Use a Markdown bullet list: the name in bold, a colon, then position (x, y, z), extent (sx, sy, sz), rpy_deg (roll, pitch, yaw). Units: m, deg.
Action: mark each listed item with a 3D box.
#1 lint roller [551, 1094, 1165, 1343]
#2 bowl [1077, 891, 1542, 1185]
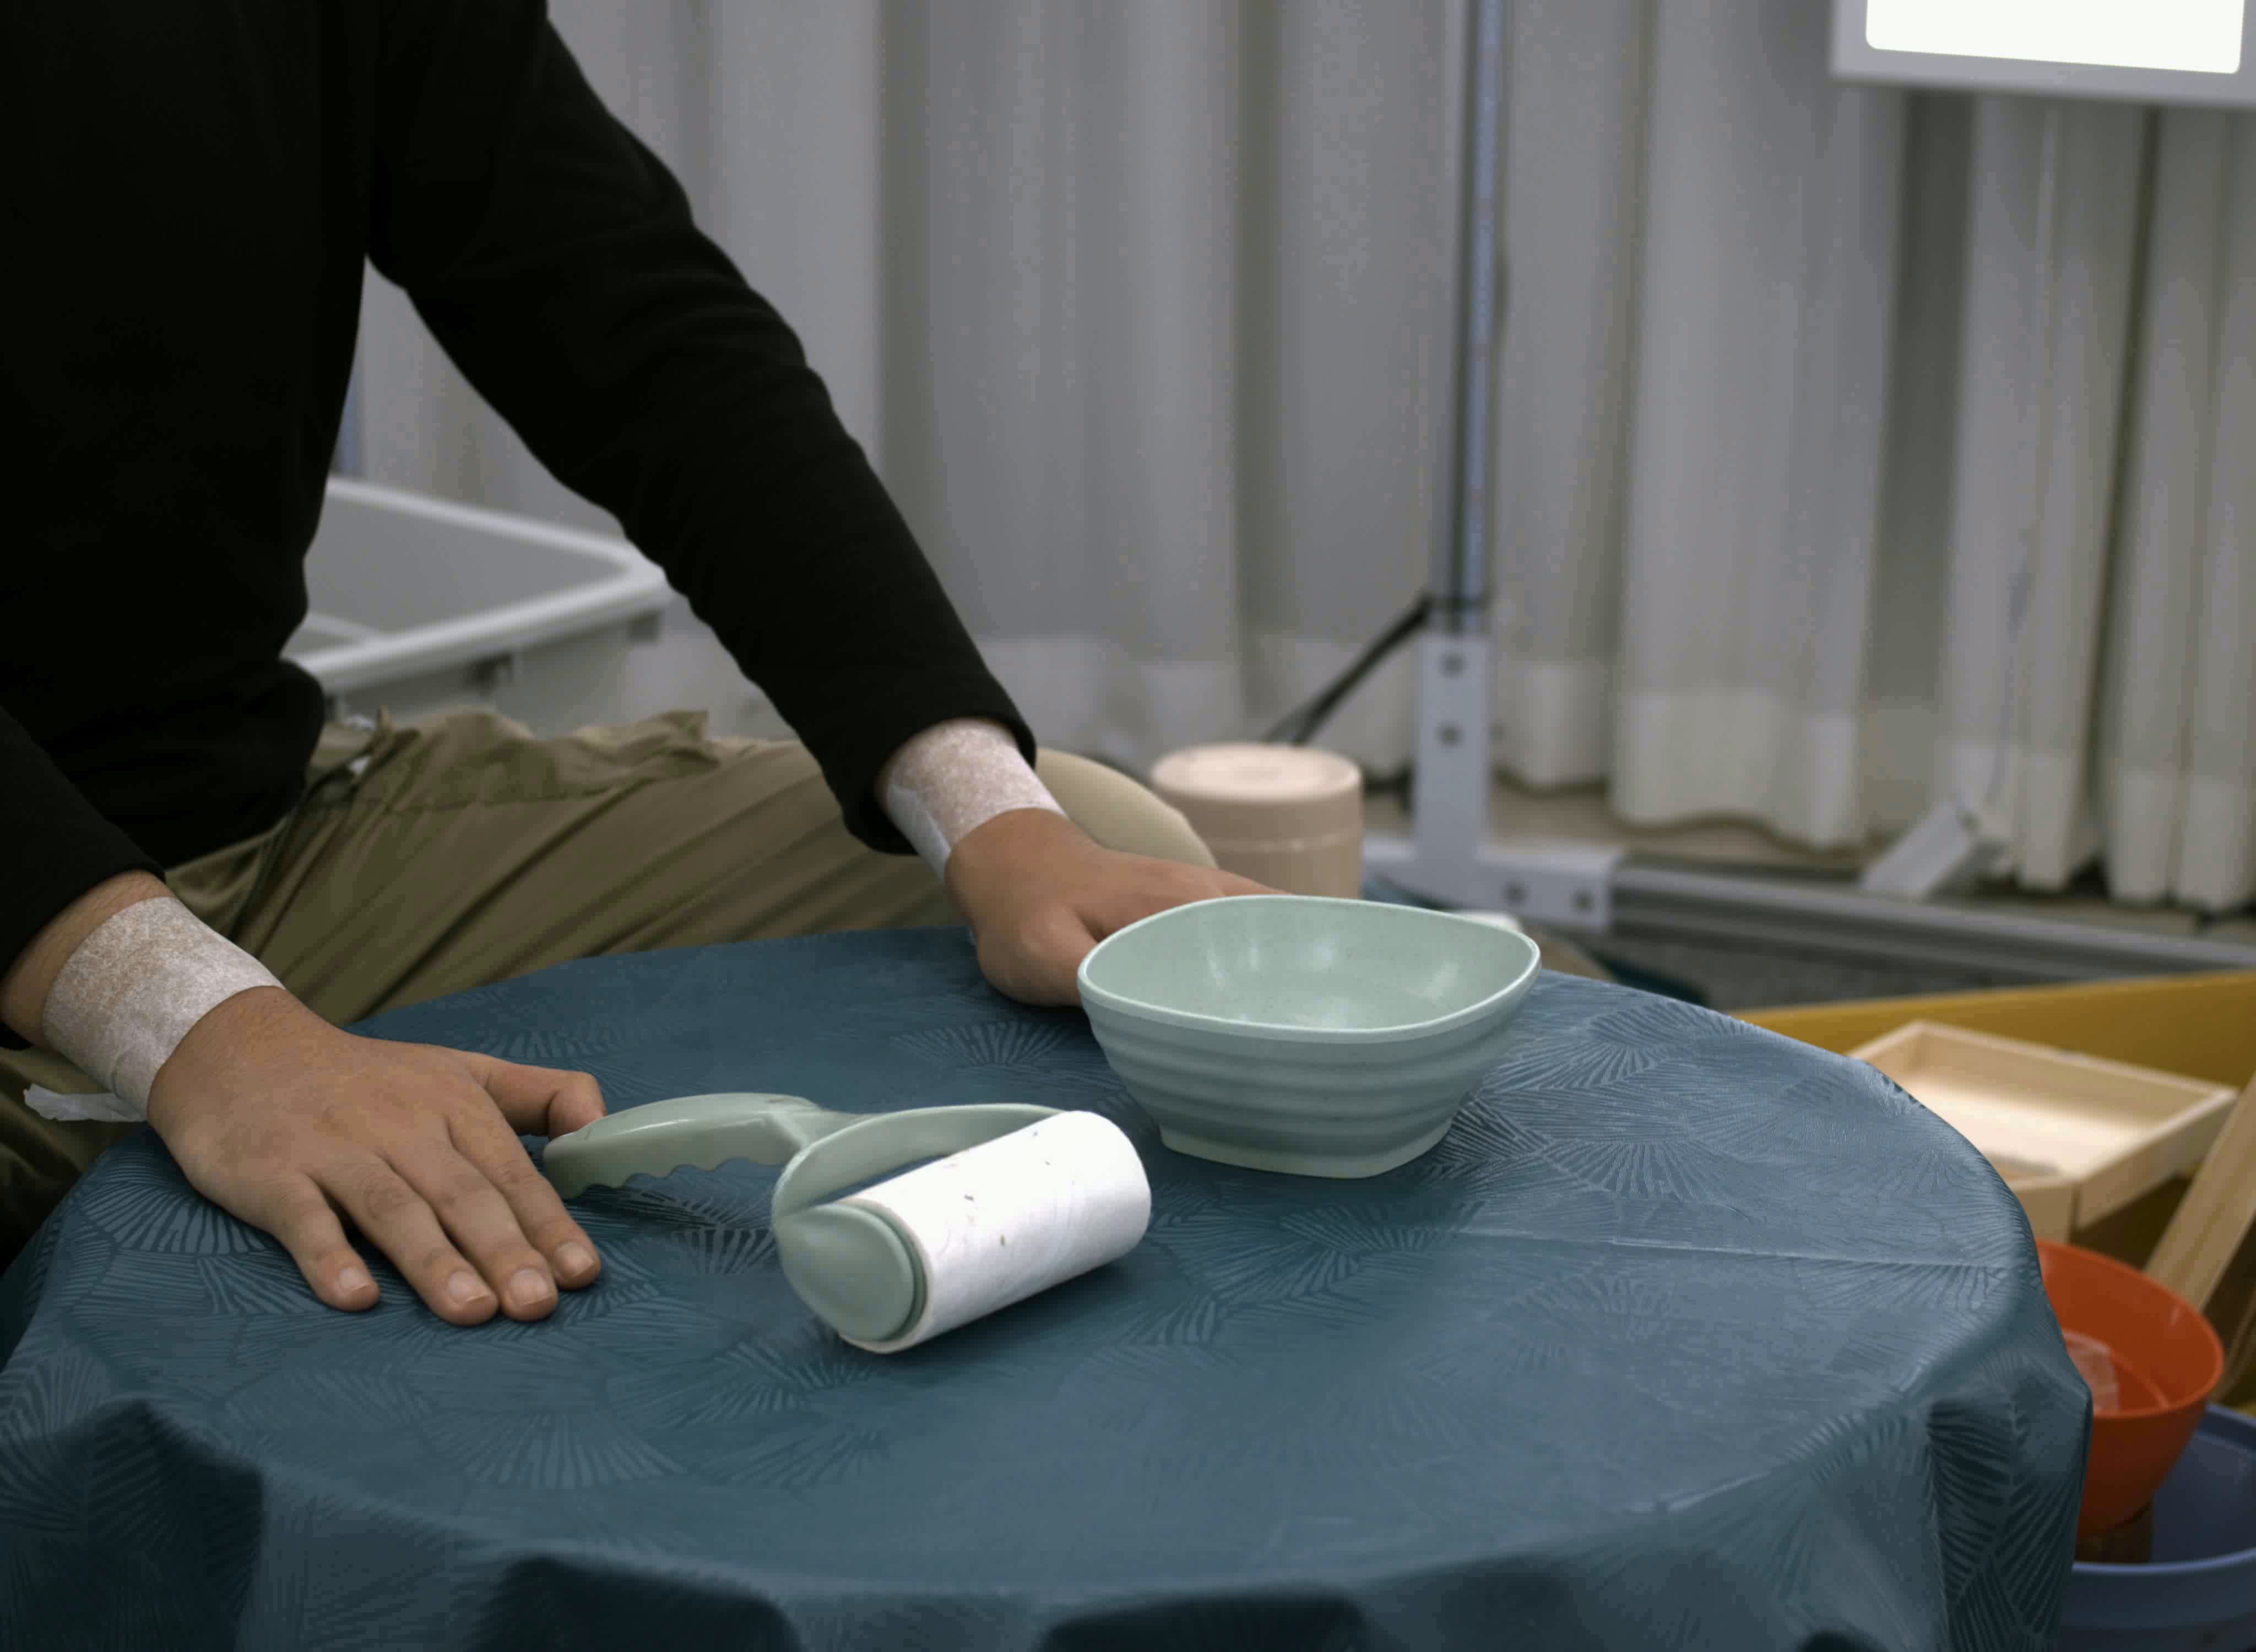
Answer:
- **lint roller**: position (-0.094, 0.104, 1.565), extent (0.195, 0.049, 0.117), rpy_deg (10, 19, 36)
- **bowl**: position (0.057, 0.070, 1.670), extent (0.151, 0.059, 0.150), rpy_deg (1, 17, 0)
